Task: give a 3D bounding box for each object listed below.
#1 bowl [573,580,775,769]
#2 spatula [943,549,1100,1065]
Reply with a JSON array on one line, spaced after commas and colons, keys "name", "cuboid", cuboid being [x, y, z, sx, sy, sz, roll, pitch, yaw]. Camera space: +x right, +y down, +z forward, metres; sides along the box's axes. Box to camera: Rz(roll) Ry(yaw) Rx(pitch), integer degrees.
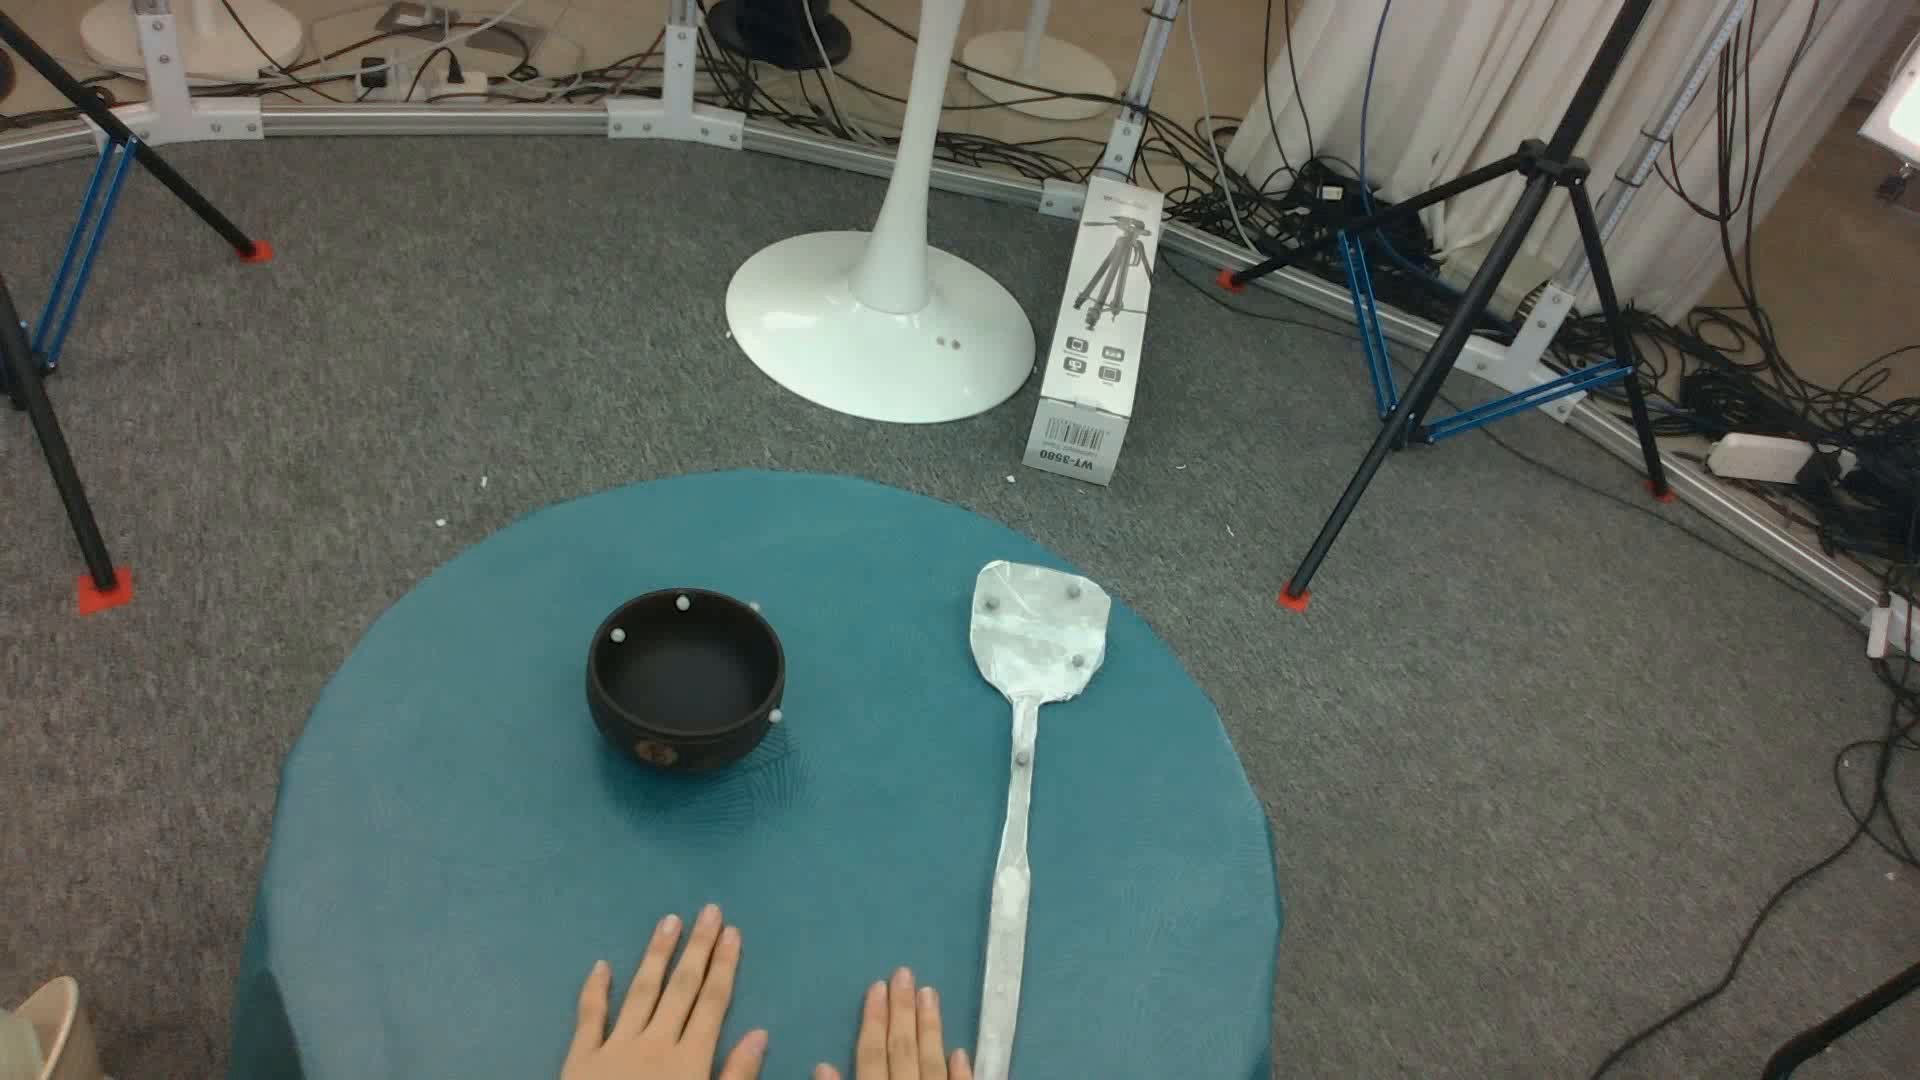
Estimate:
[{"name": "bowl", "cuboid": [-0.174, 0.089, 0.836, 0.118, 0.069, 0.118, 8, 44, -7]}, {"name": "spatula", "cuboid": [0.029, 0.149, 0.862, 0.099, 0.044, 0.367, 15, 43, -5]}]
